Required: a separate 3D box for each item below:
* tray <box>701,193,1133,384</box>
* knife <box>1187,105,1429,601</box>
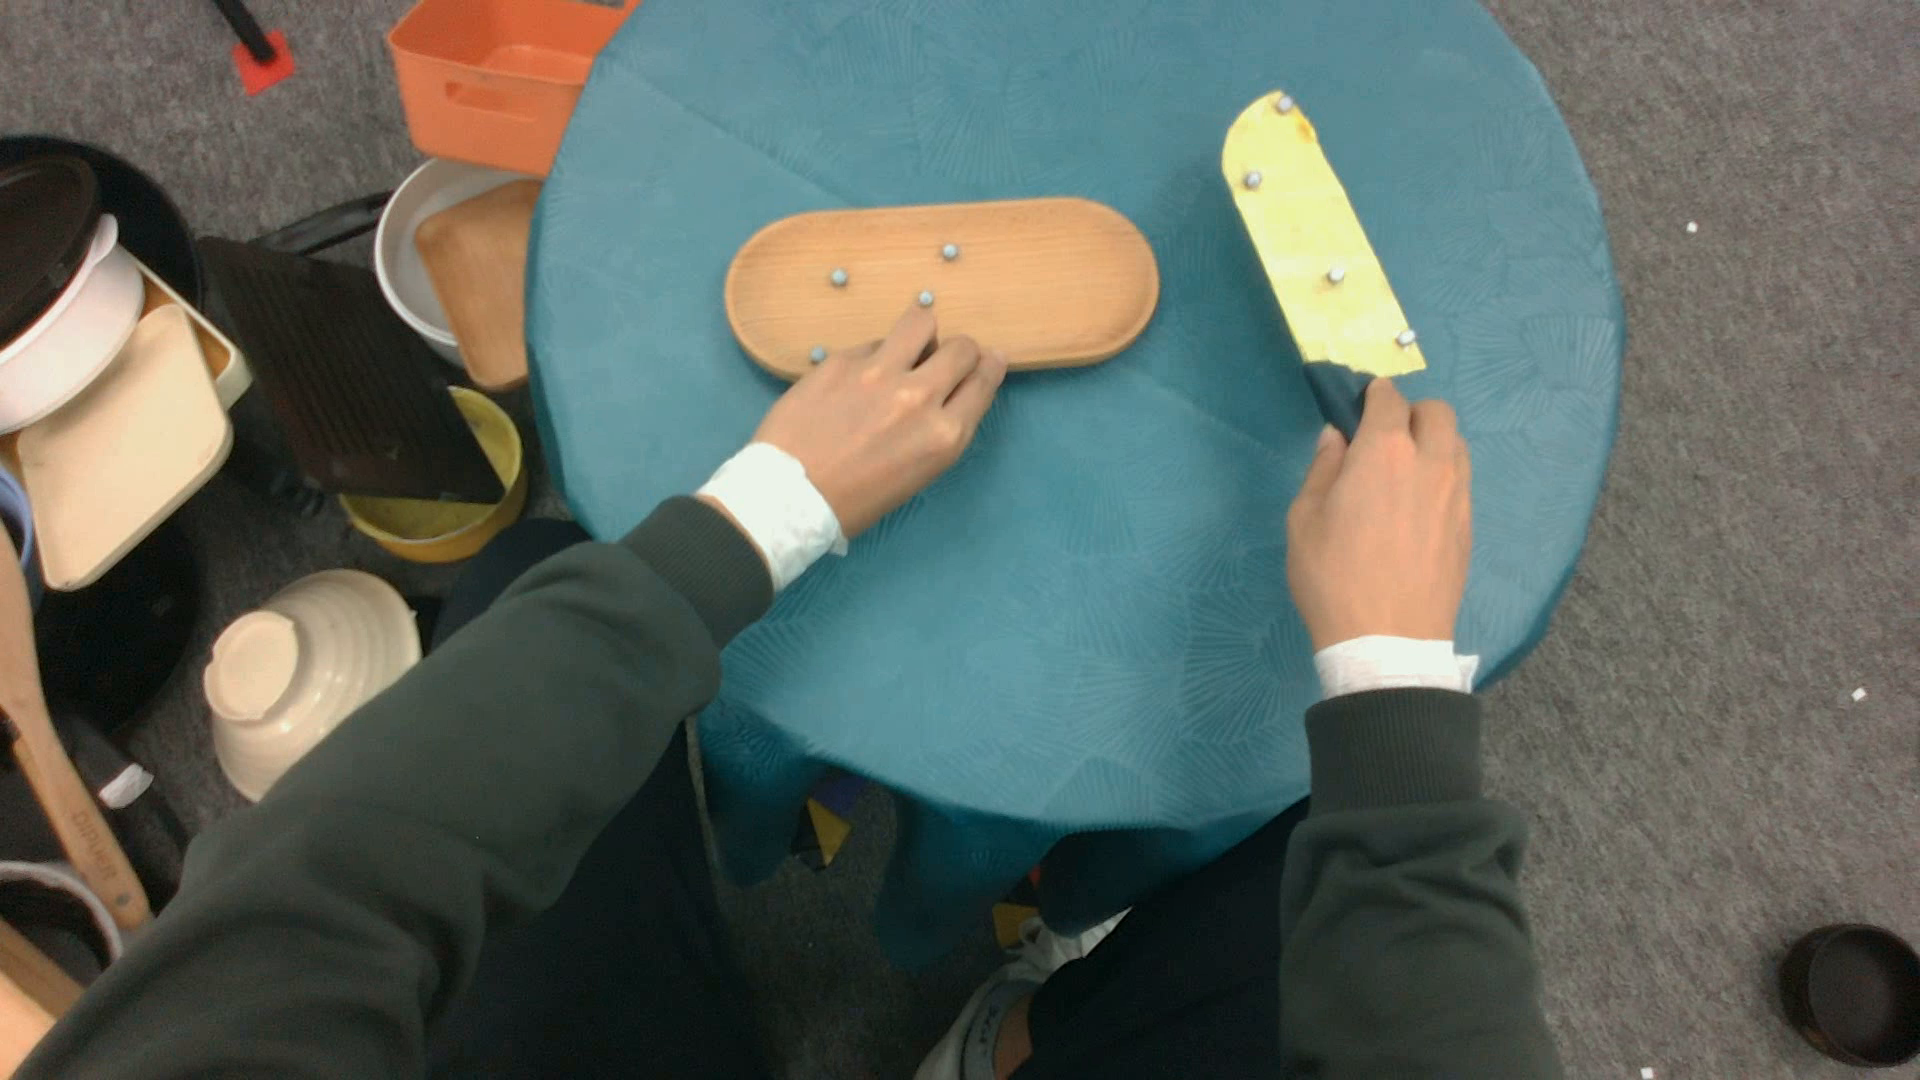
[{"bbox_3d":[-0.021,-0.135,0.738,0.231,0.020,0.102,-5,71,-9],"label":"tray"},{"bbox_3d":[0.185,-0.106,0.707,0.081,0.027,0.290,-10,71,-21],"label":"knife"}]
